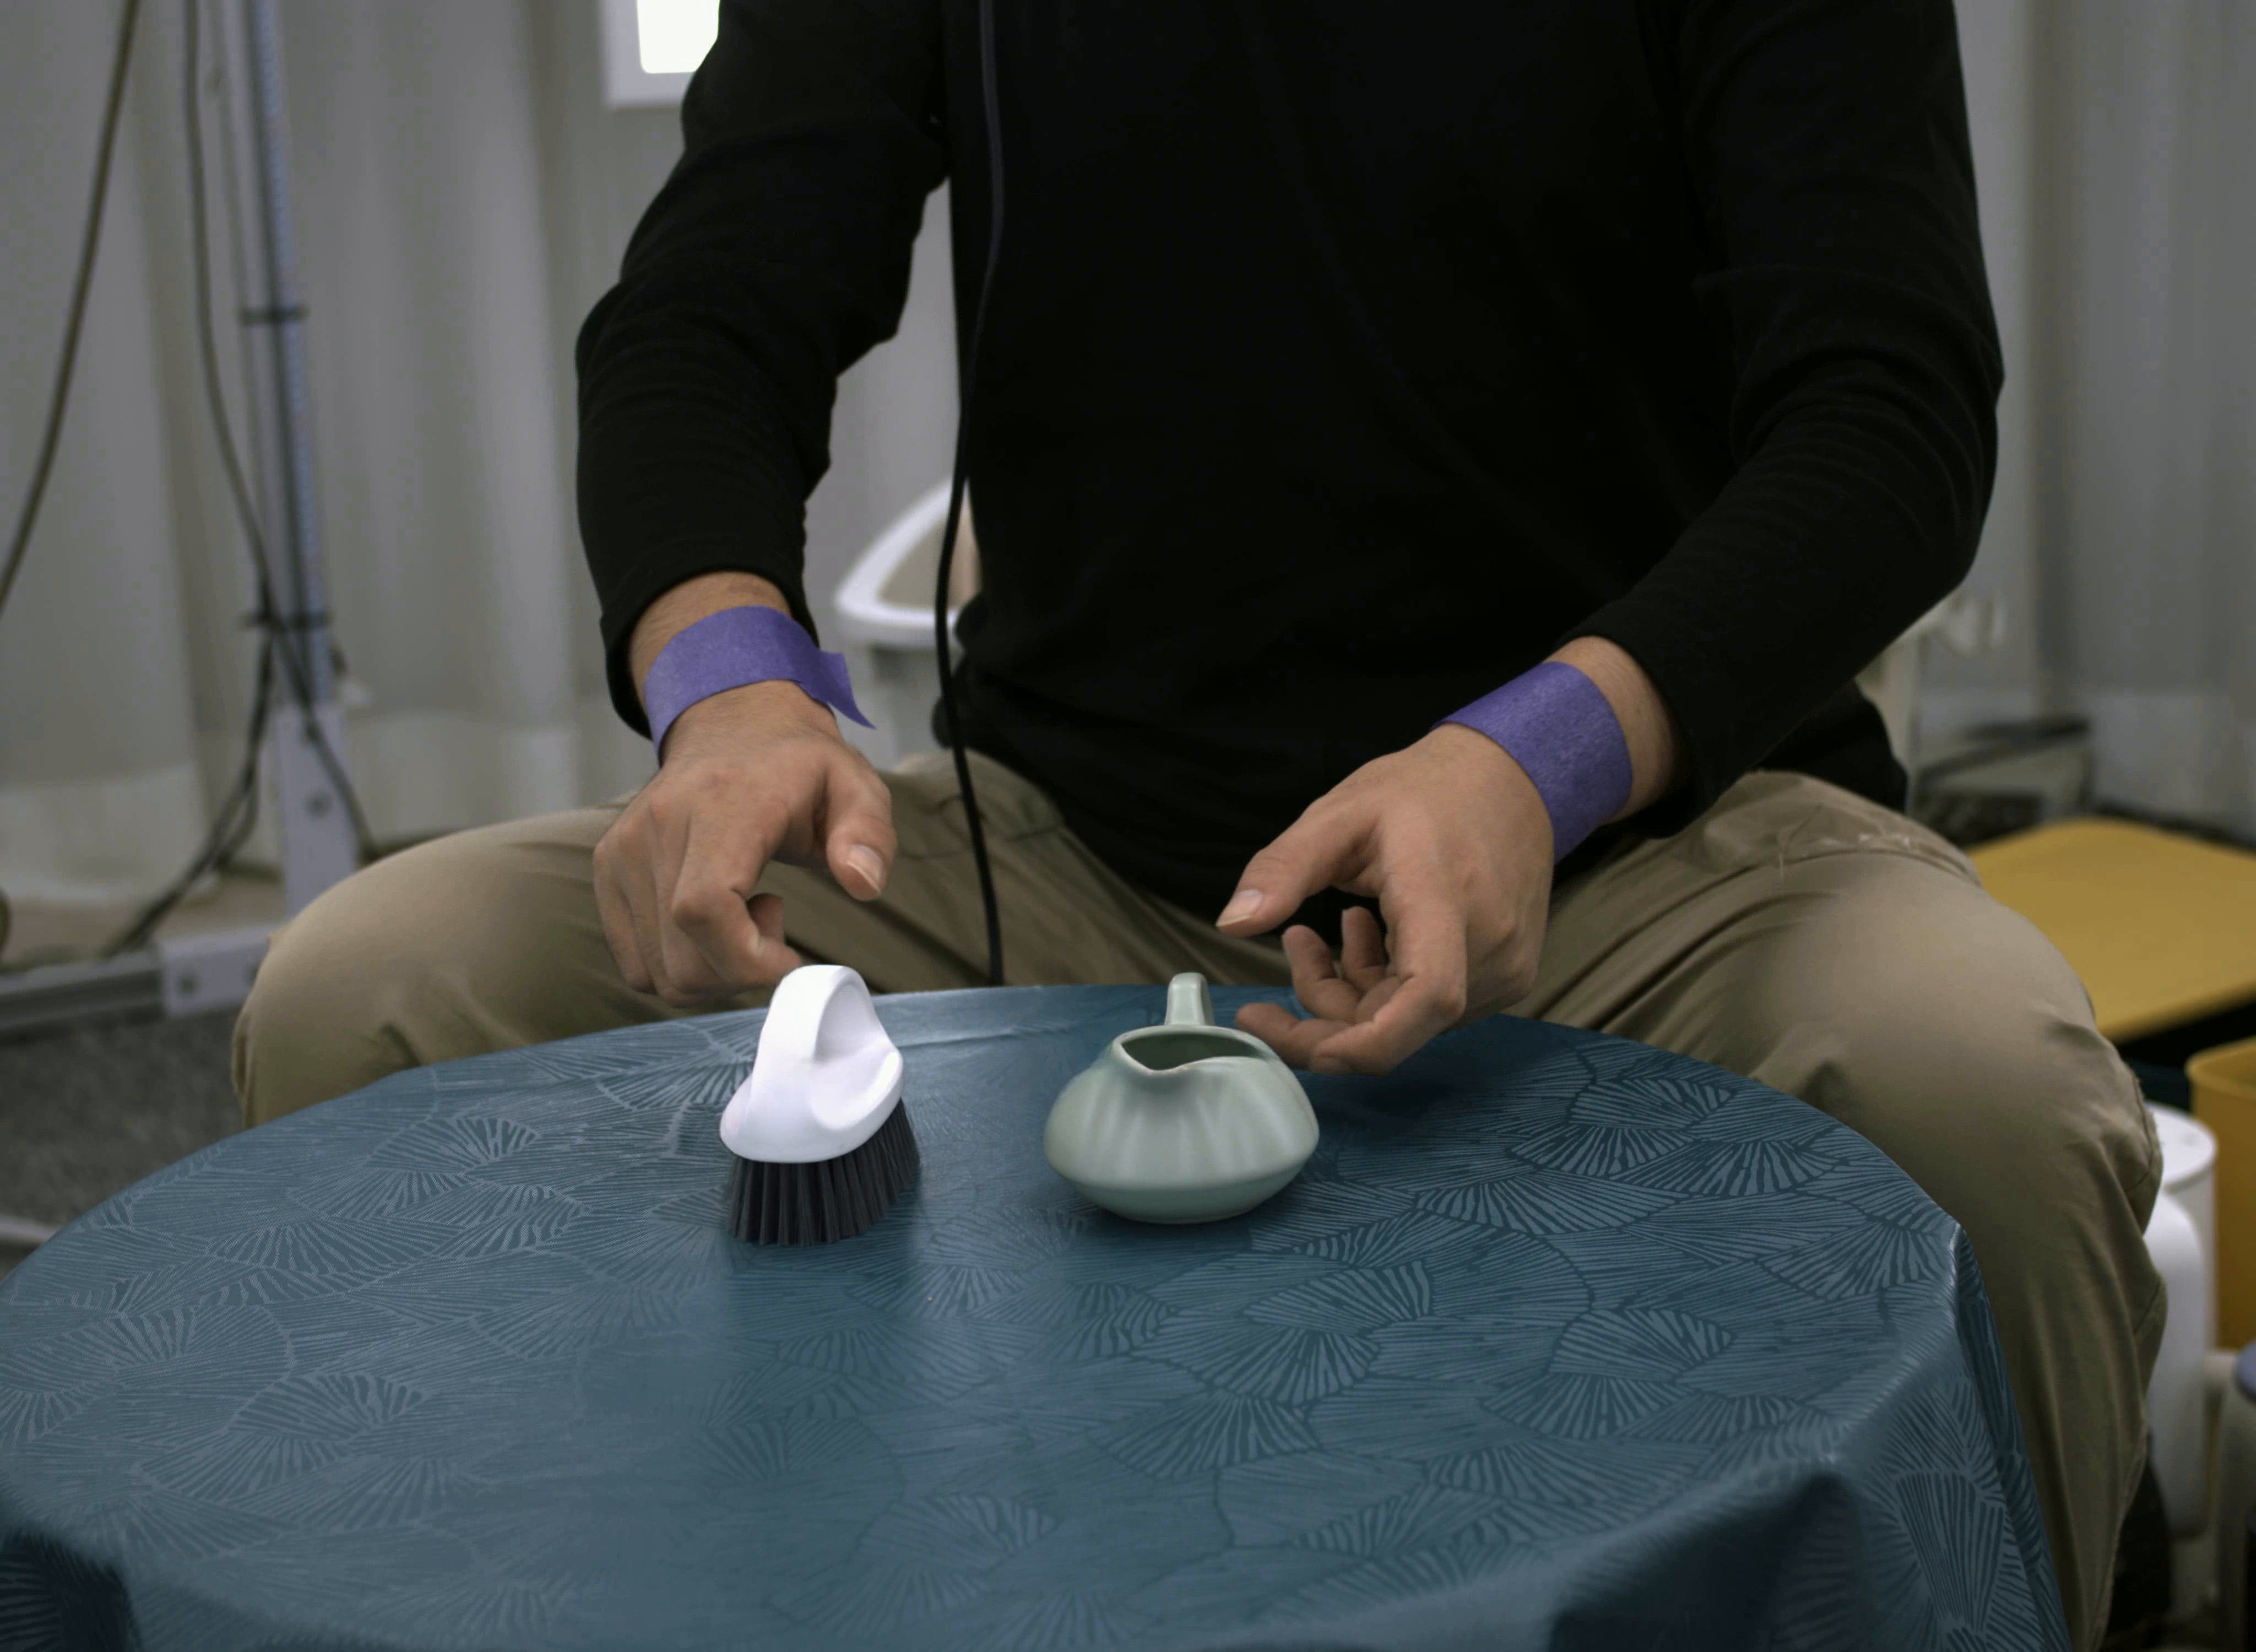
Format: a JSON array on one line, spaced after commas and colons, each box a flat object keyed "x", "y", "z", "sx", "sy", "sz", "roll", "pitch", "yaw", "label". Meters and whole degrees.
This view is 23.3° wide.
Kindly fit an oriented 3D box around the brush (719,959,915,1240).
[{"x": -0.099, "y": 0.081, "z": 1.718, "sx": 0.050, "sy": 0.072, "sz": 0.100, "roll": 1, "pitch": 16, "yaw": 13, "label": "brush"}]

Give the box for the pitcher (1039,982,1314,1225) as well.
[{"x": 0.016, "y": 0.087, "z": 1.709, "sx": 0.086, "sy": 0.060, "sz": 0.108, "roll": -1, "pitch": 12, "yaw": 4, "label": "pitcher"}]
